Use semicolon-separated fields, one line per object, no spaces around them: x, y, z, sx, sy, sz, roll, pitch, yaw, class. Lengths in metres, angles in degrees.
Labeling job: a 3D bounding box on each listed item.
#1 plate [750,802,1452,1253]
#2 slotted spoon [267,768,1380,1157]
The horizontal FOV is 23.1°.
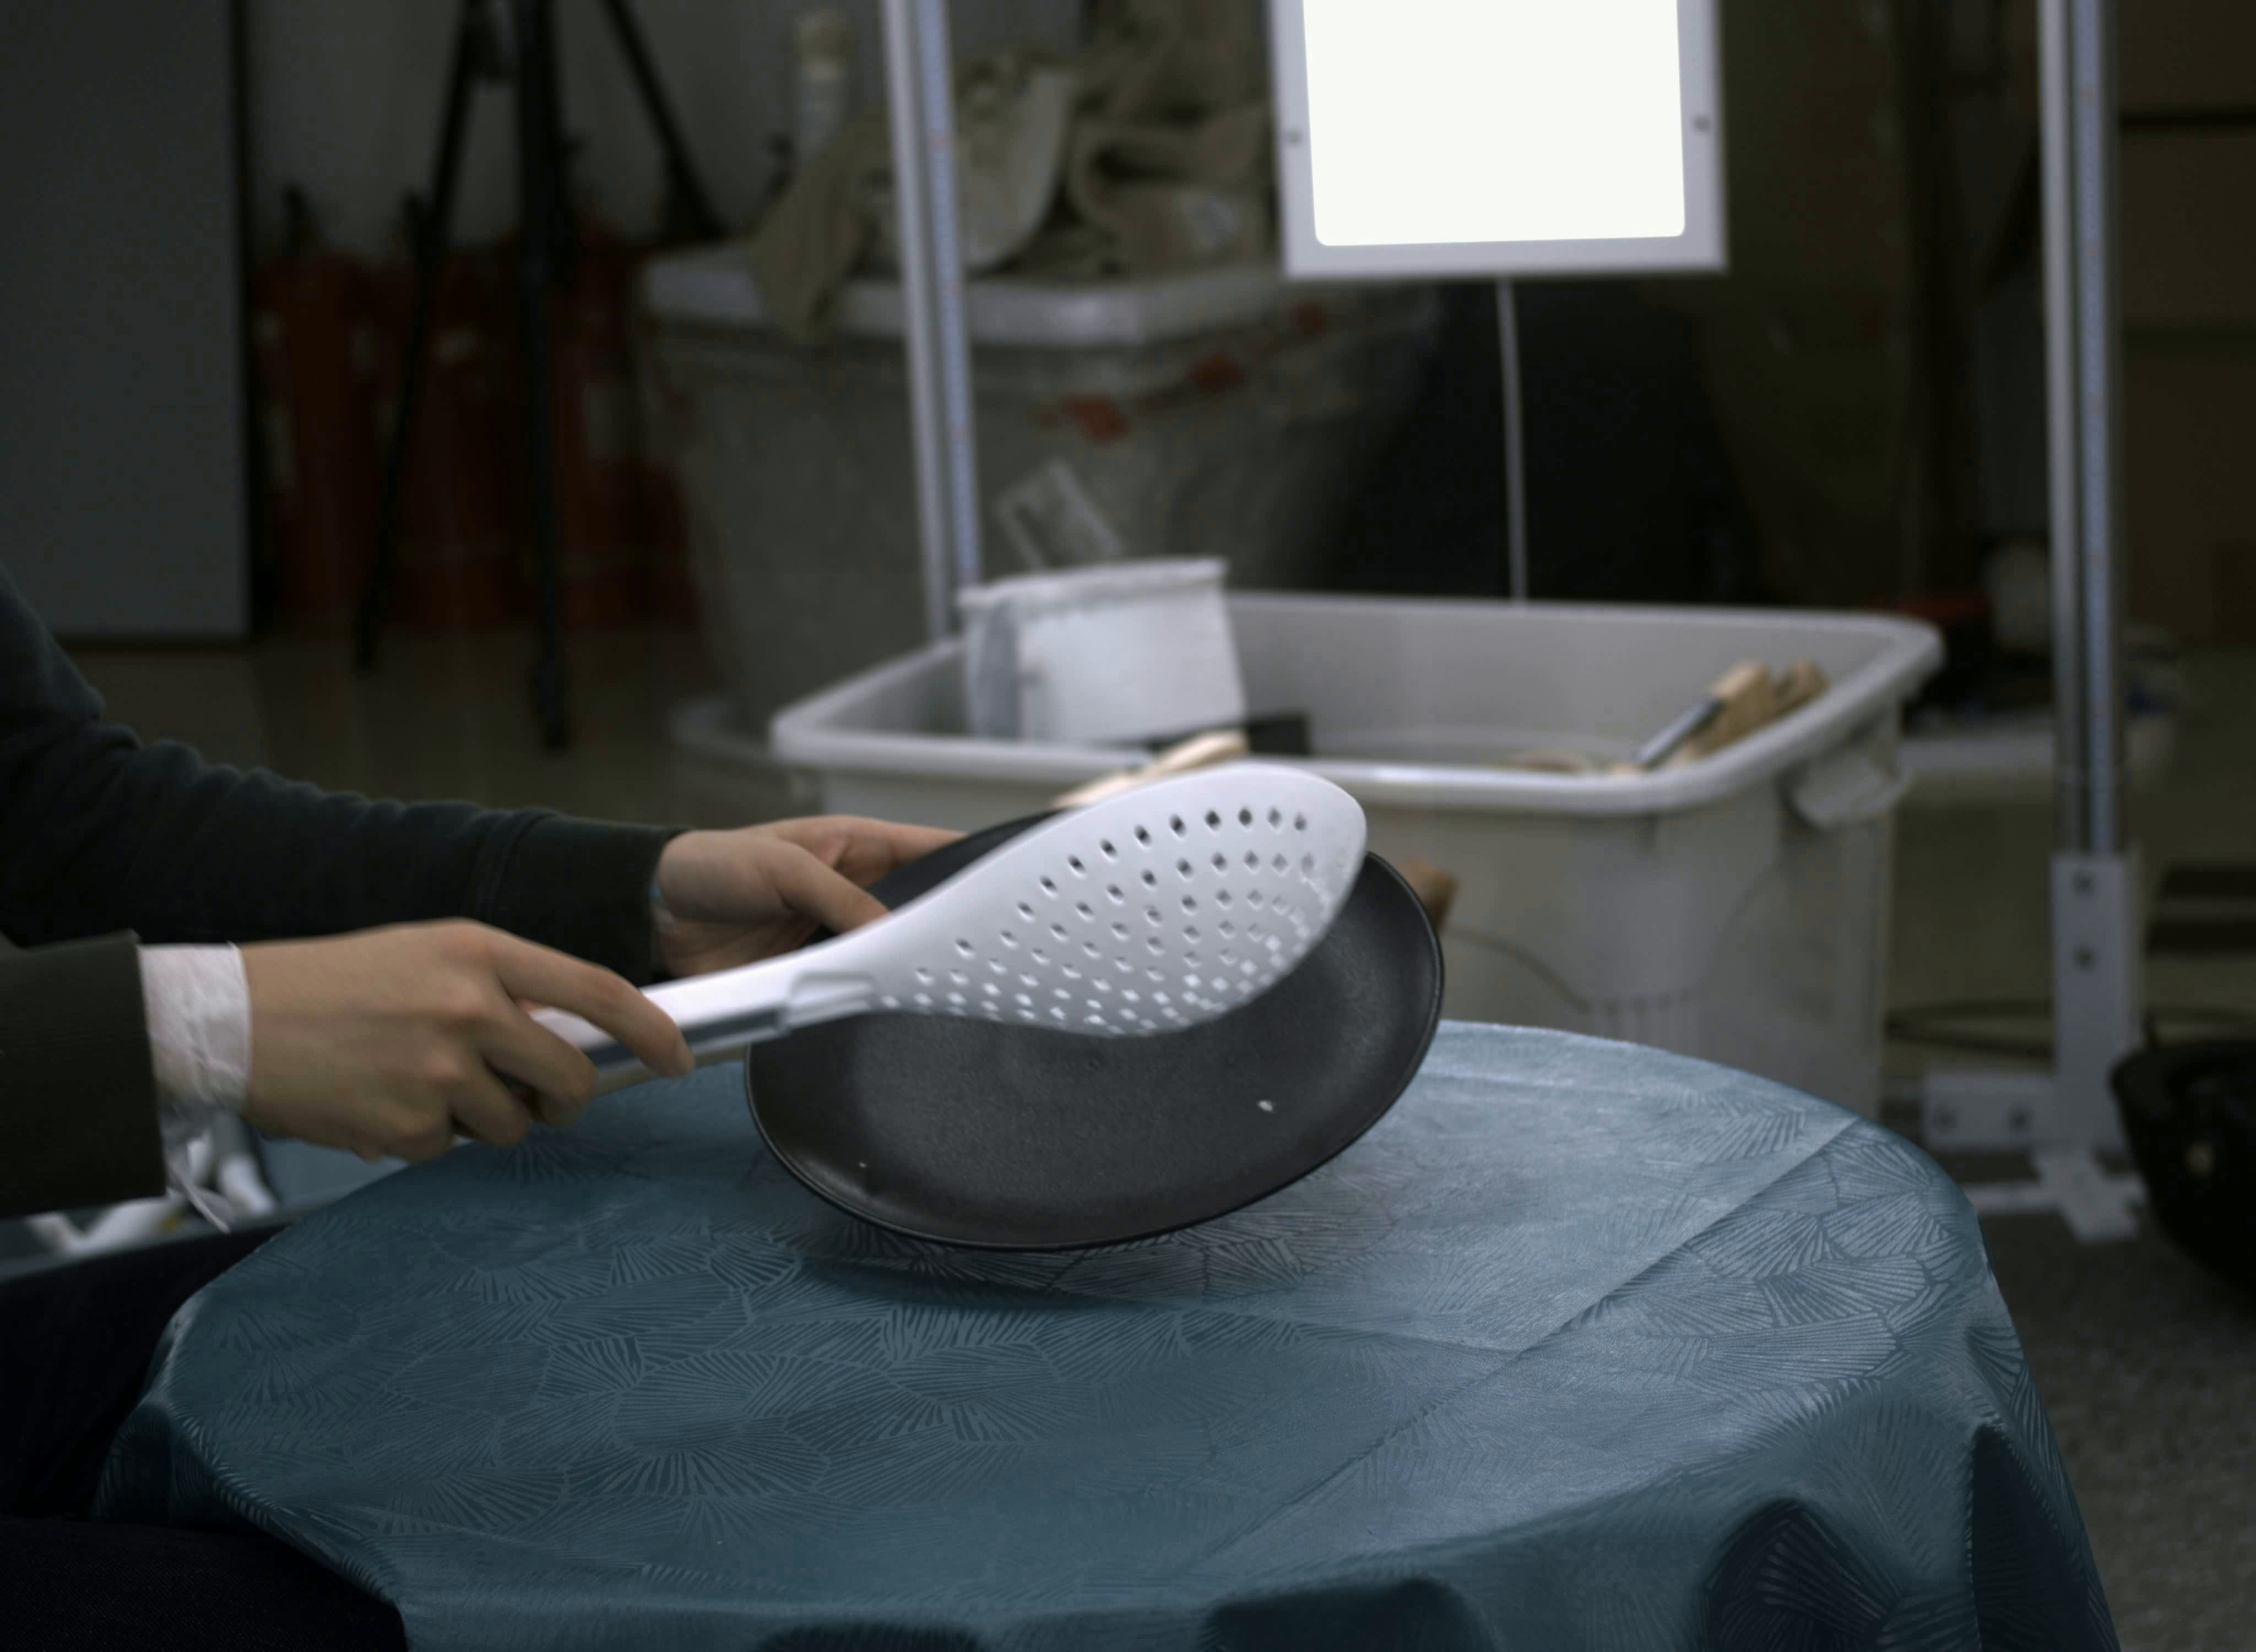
-0.008;0.072;1.883;0.245;0.023;0.244;-10;36;6;plate
-0.089;0.050;1.676;0.347;0.046;0.136;-9;-29;-5;slotted spoon
